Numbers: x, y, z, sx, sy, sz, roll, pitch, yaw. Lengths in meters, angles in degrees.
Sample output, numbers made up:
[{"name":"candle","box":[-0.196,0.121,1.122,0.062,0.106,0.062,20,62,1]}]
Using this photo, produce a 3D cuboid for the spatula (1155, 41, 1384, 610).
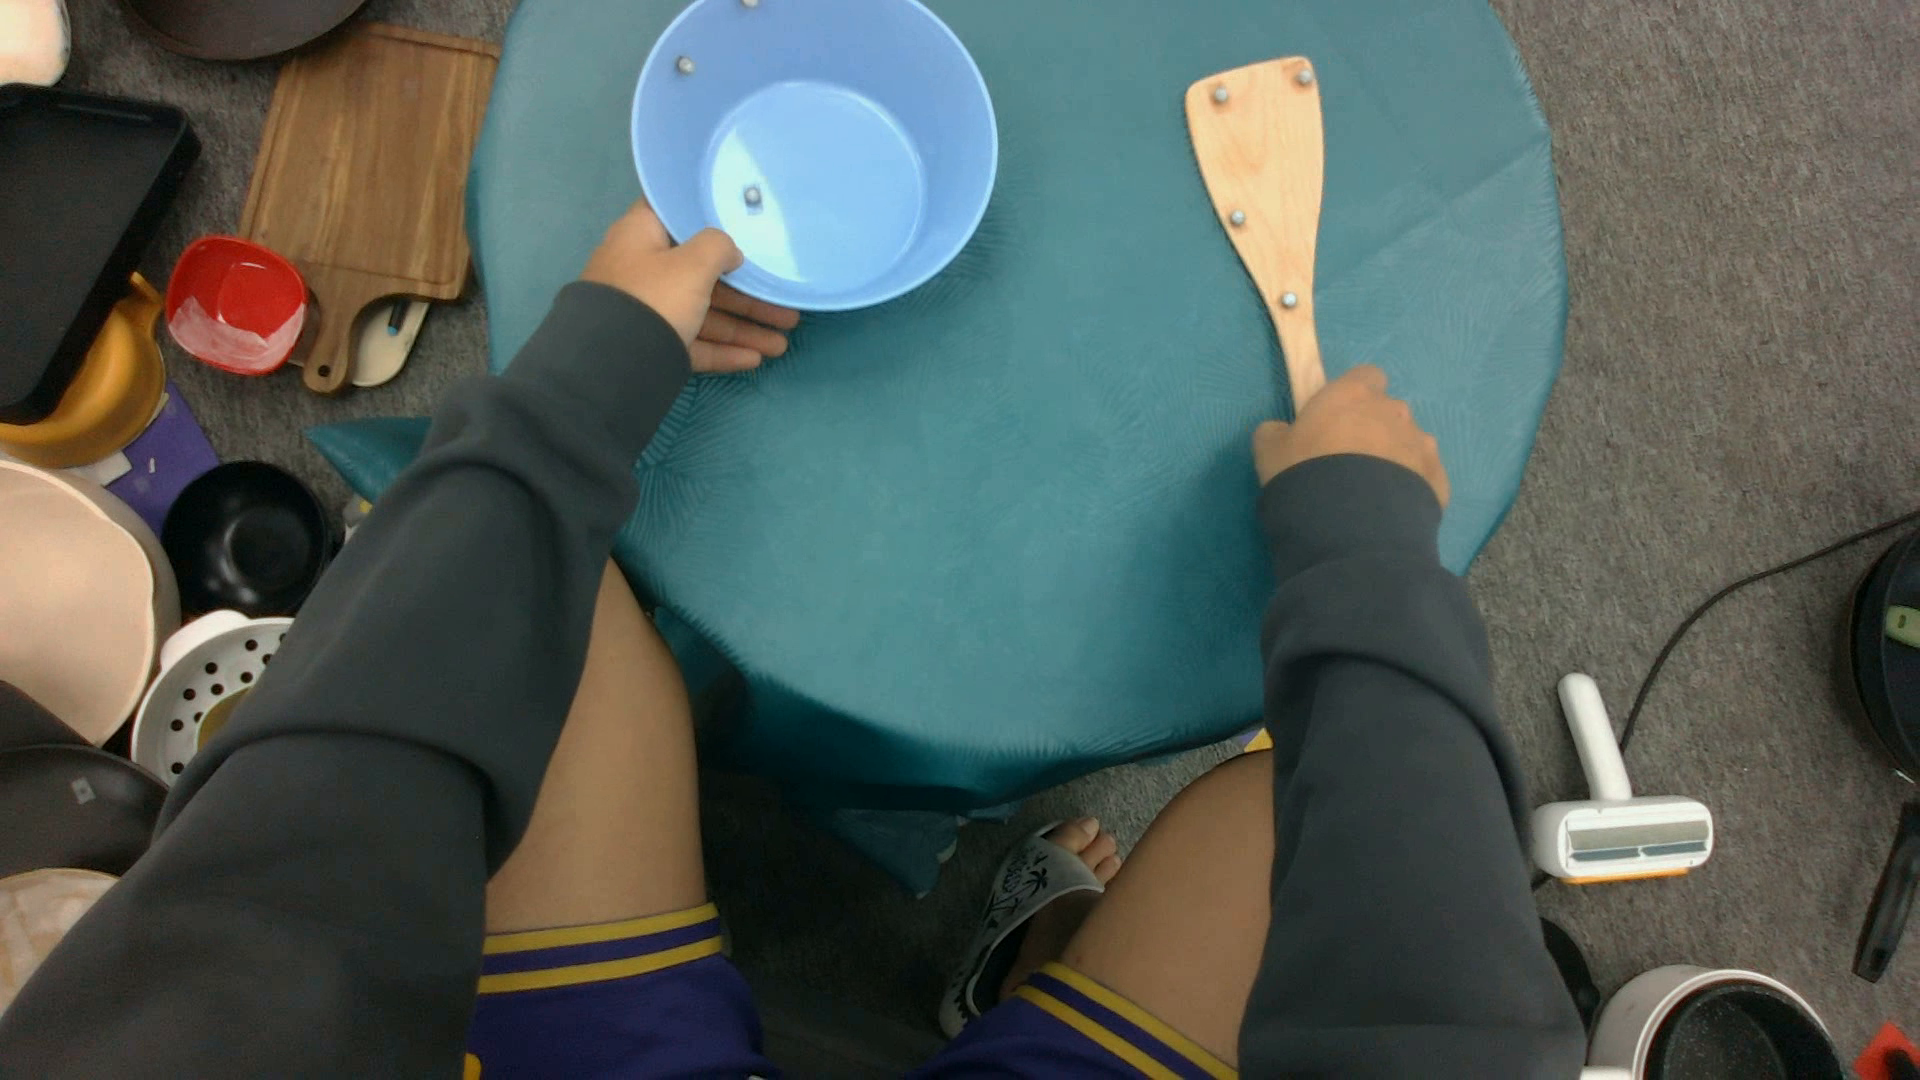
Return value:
[{"name":"spatula","box":[0.176,-0.121,0.747,0.080,0.016,0.328,-10,77,-11]}]

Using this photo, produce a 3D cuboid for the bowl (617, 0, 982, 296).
[{"name":"bowl","box":[-0.081,-0.196,0.695,0.176,0.070,0.176,2,79,-10]}]
